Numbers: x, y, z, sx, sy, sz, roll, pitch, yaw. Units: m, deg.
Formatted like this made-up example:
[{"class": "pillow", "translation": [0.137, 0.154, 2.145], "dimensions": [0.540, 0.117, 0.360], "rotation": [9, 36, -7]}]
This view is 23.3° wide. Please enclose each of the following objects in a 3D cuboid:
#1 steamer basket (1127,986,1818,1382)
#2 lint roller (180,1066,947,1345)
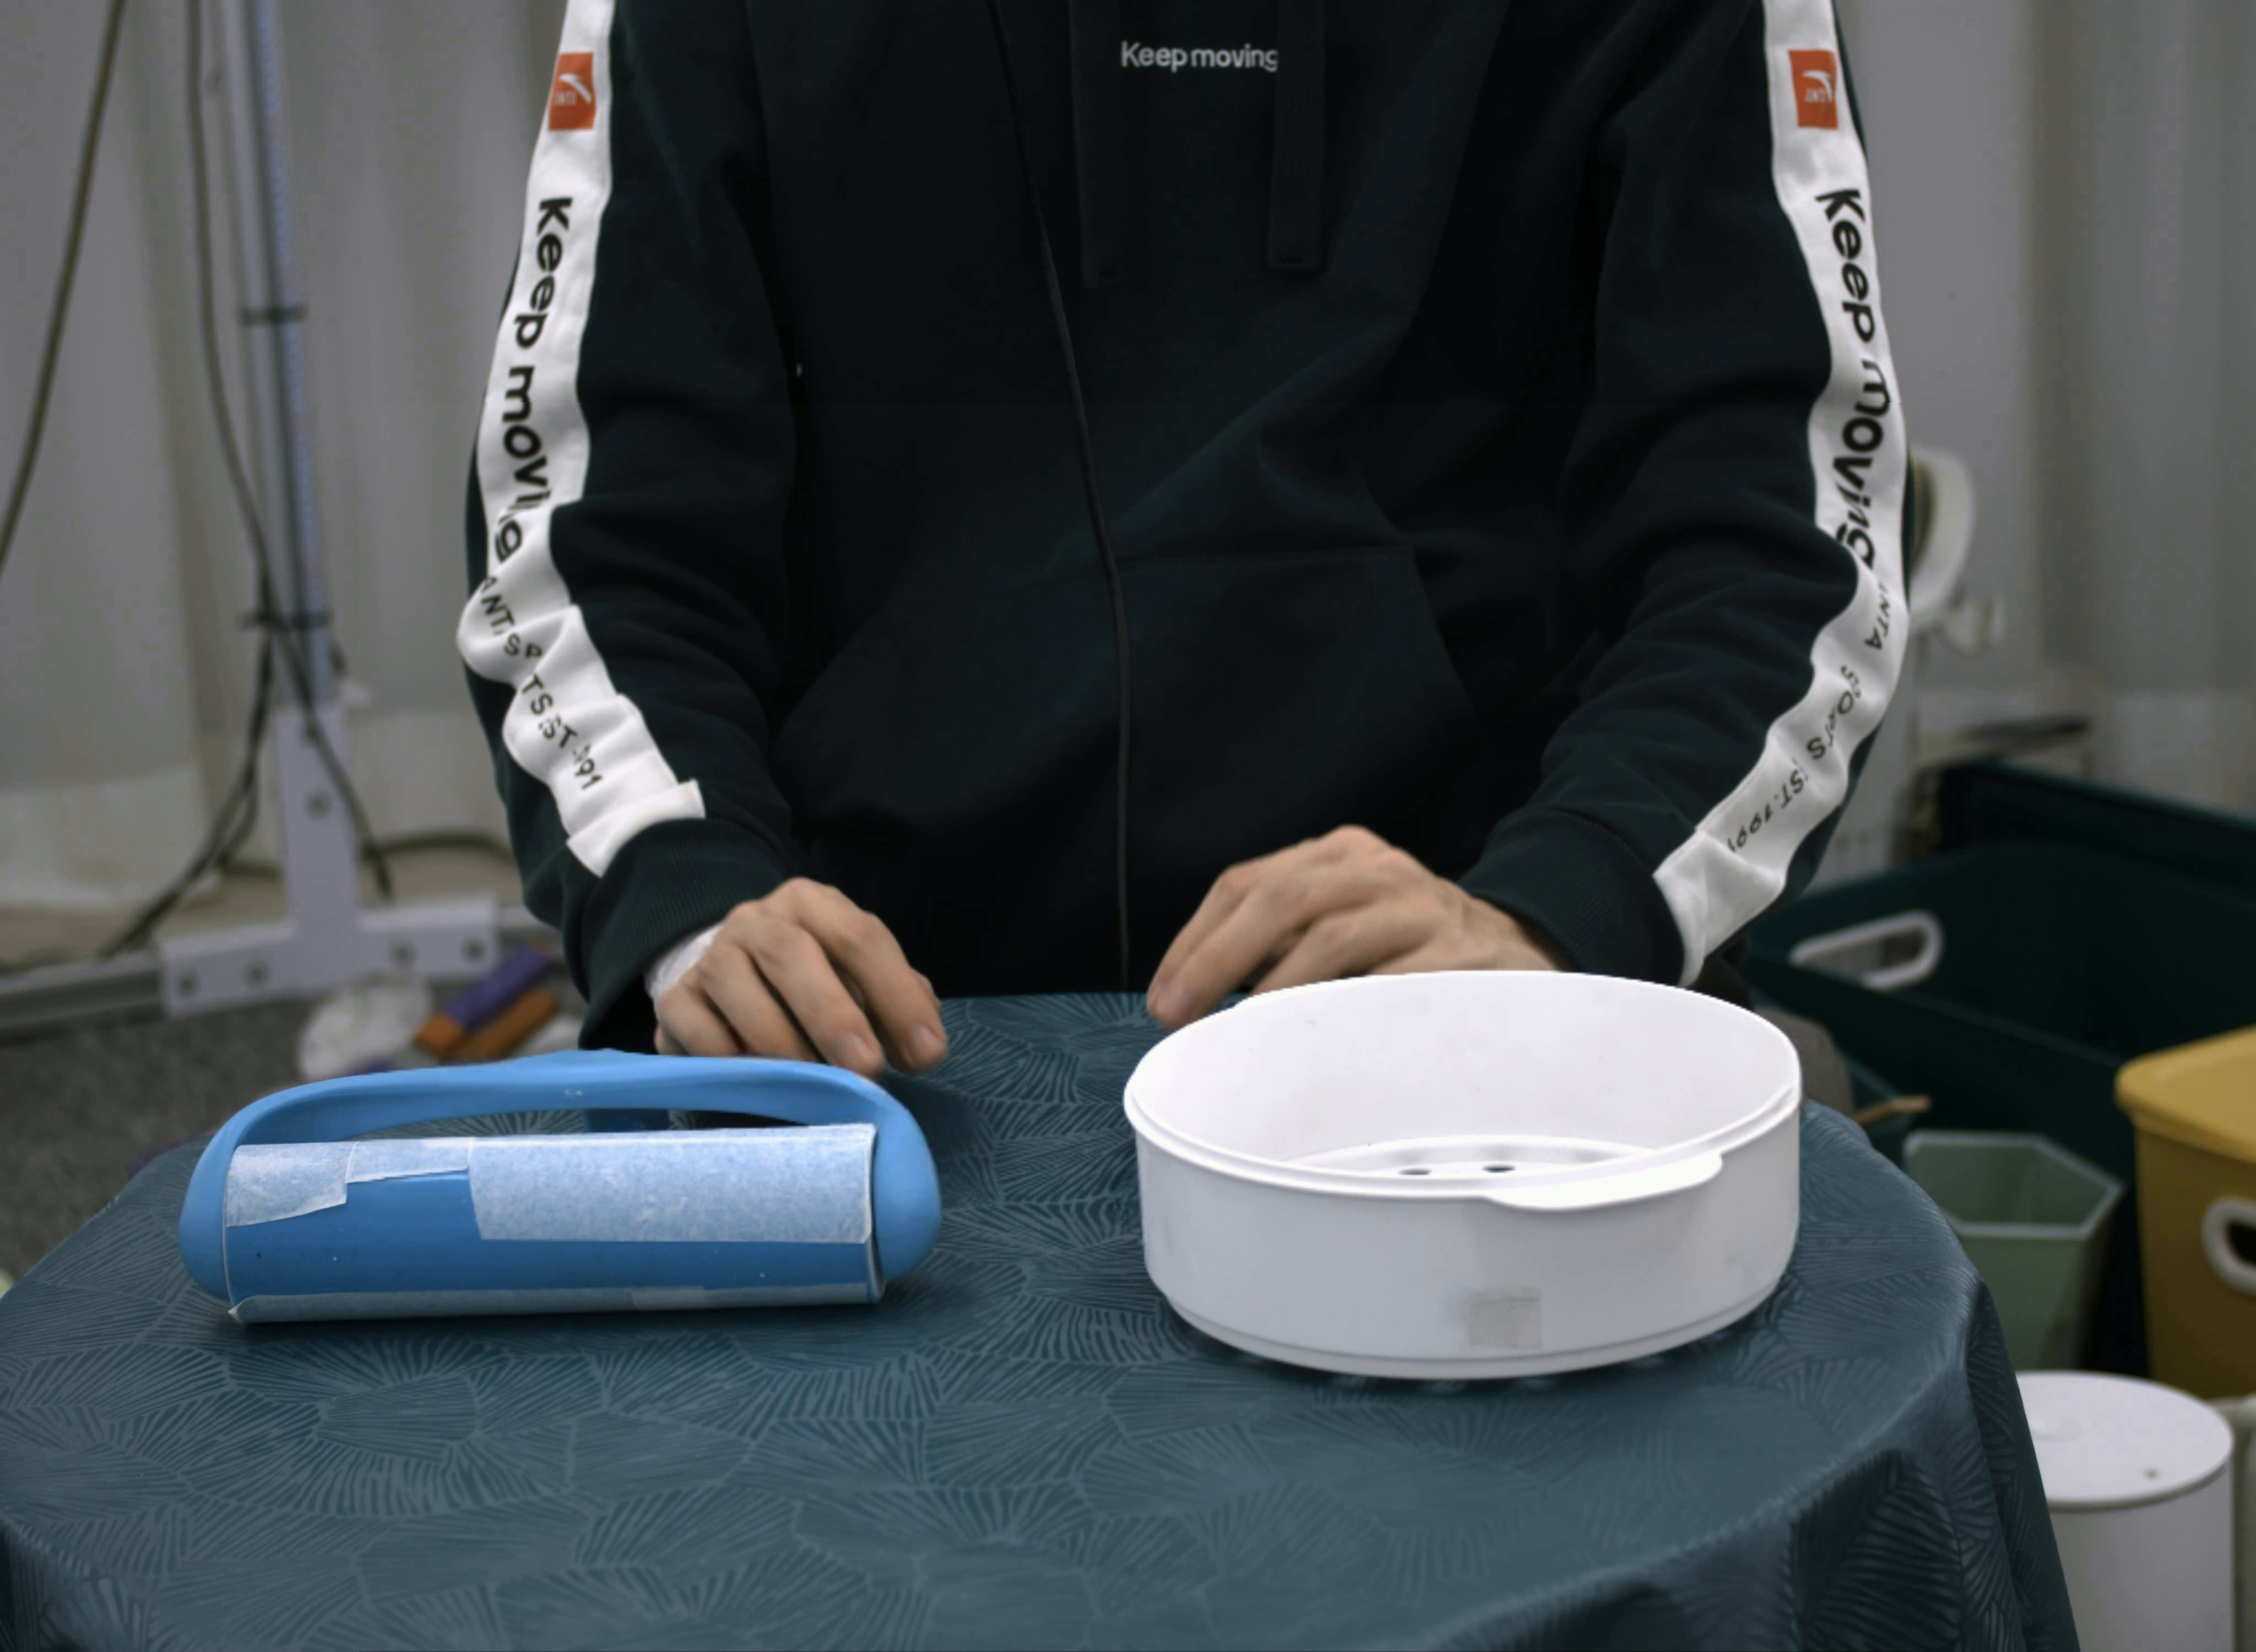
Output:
[{"class": "steamer basket", "translation": [0.101, 0.104, 1.602], "dimensions": [0.201, 0.069, 0.232], "rotation": [-7, 14, -19]}, {"class": "lint roller", "translation": [-0.169, 0.104, 1.683], "dimensions": [0.228, 0.067, 0.181], "rotation": [-5, 16, 0]}]
